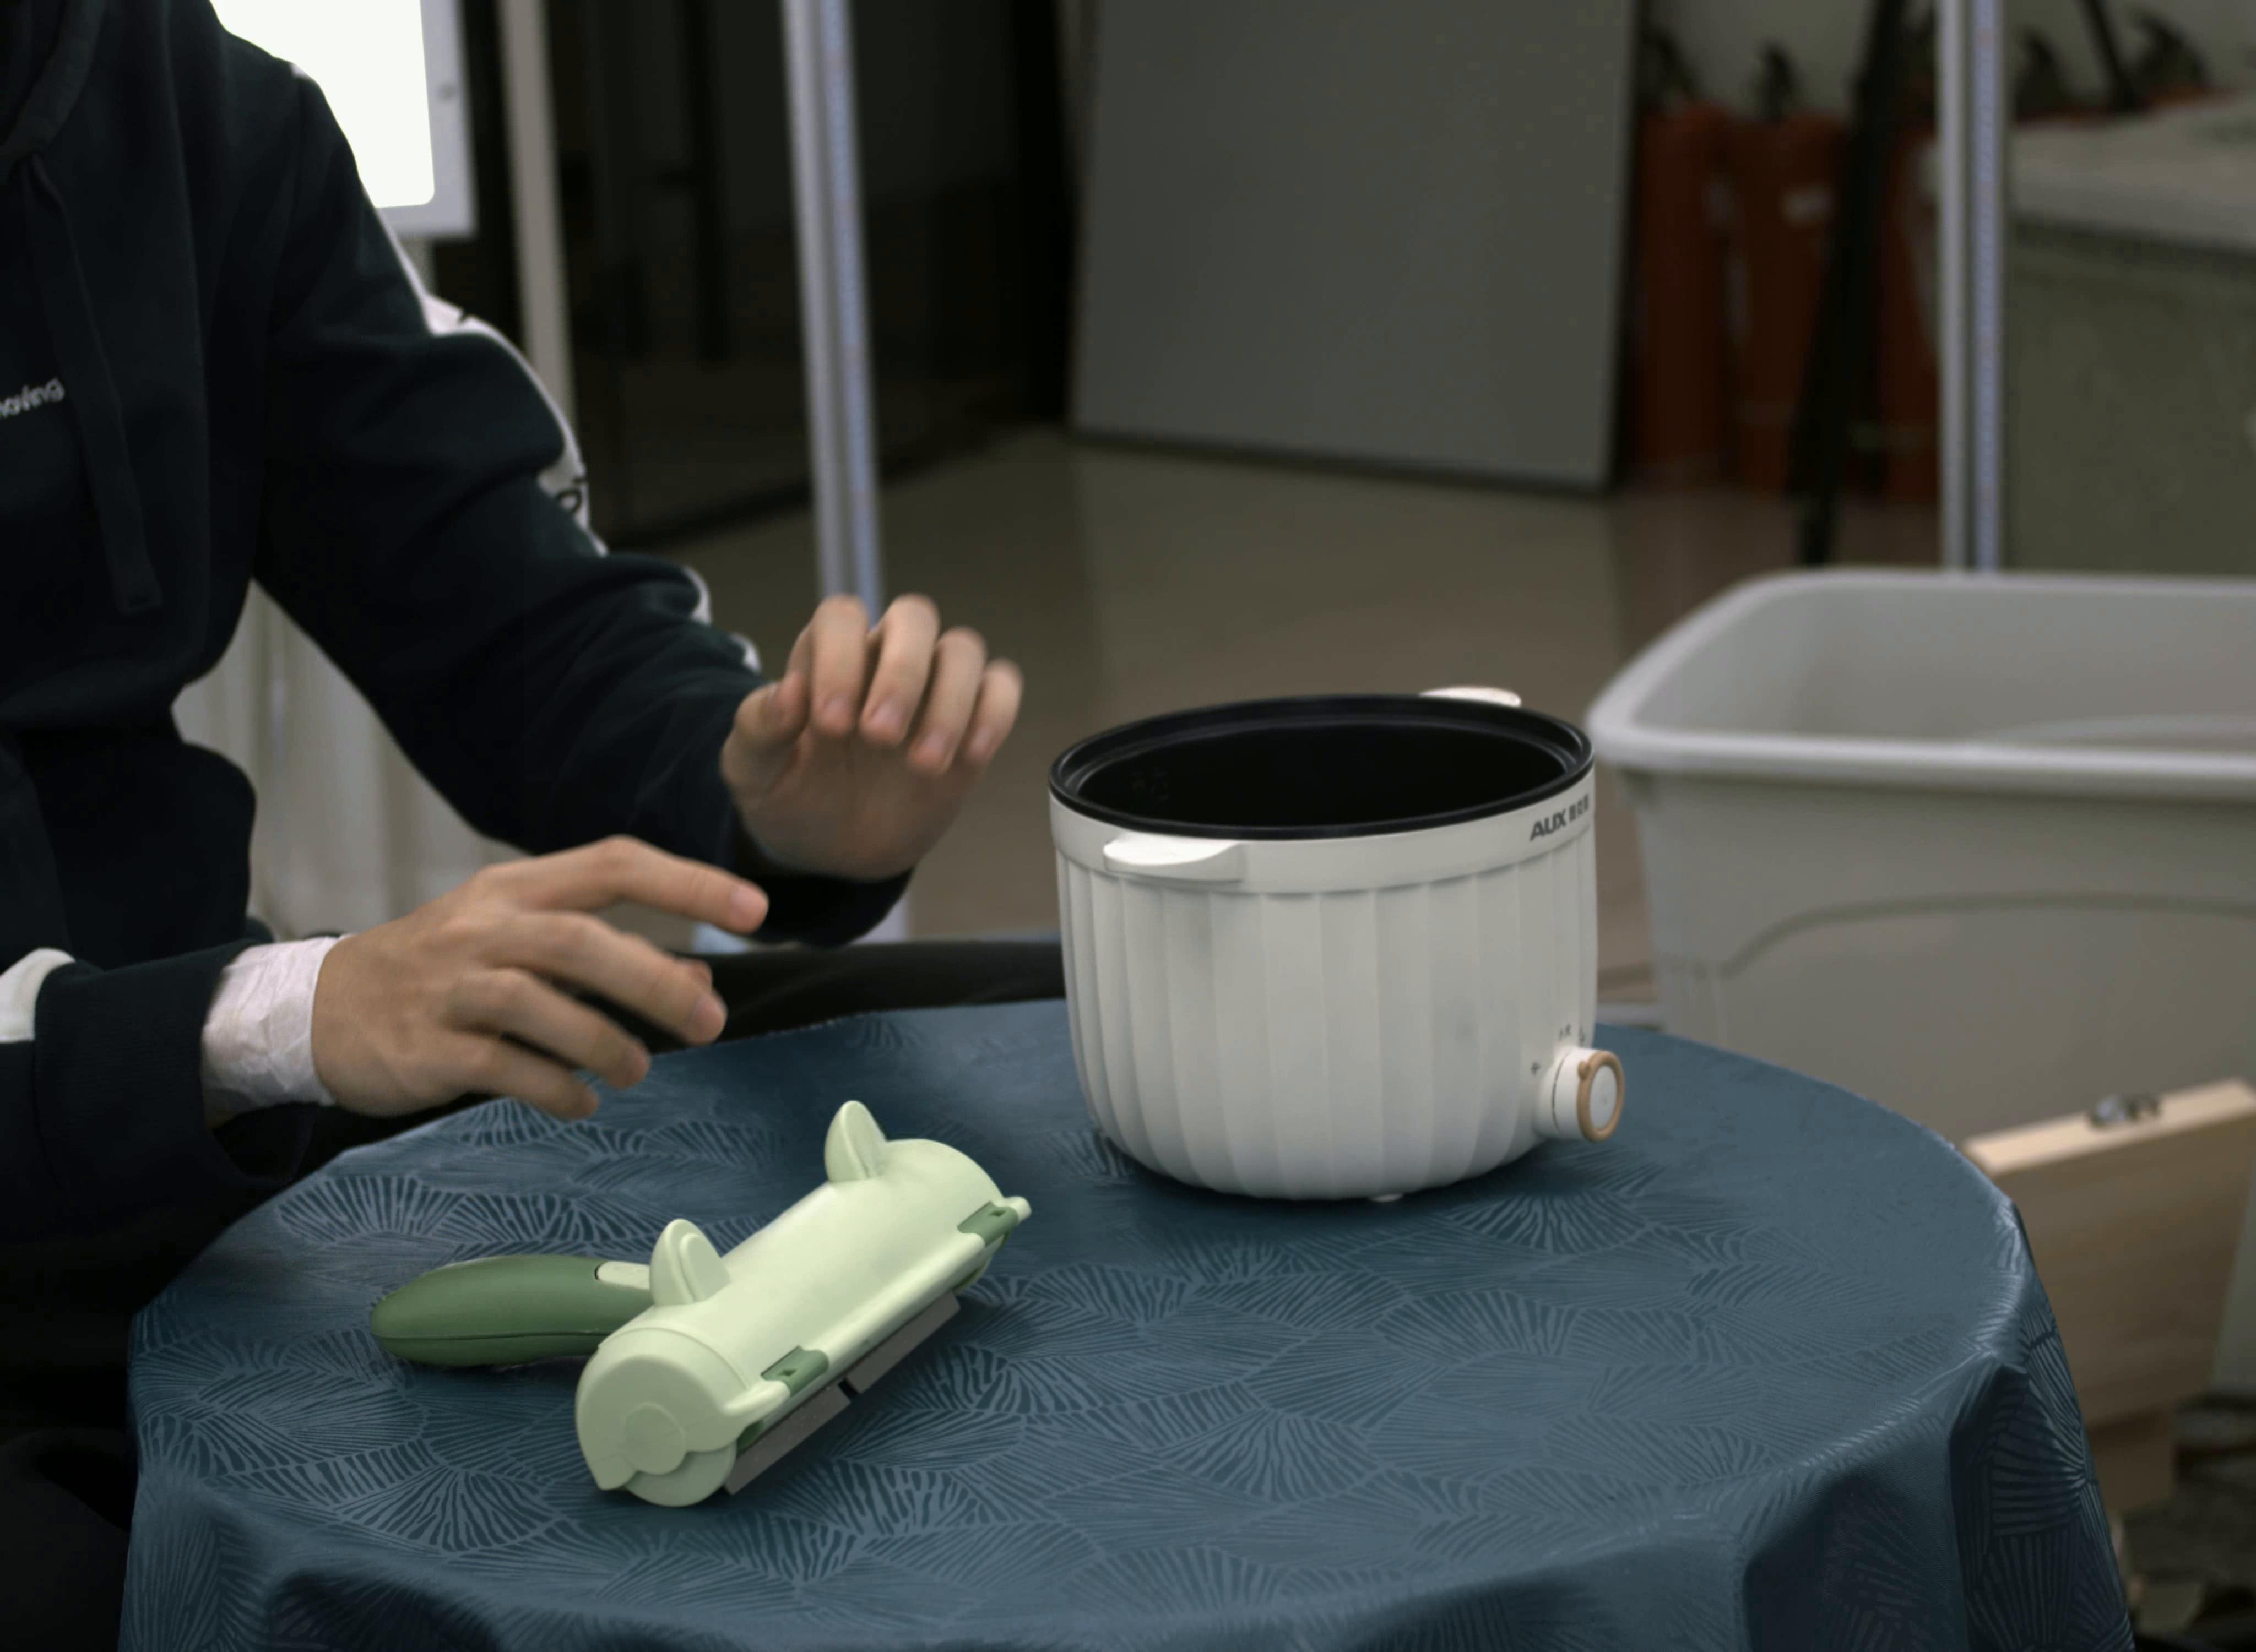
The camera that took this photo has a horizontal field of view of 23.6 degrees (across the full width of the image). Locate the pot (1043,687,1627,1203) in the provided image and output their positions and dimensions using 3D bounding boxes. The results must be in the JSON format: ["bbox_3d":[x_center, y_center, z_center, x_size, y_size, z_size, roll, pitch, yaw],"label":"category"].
[{"bbox_3d":[0.072,0.042,1.783,0.191,0.144,0.236,1,15,32],"label":"pot"}]

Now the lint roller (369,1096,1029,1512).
[{"bbox_3d":[-0.147,0.131,1.617,0.183,0.083,0.196,8,18,23],"label":"lint roller"}]
